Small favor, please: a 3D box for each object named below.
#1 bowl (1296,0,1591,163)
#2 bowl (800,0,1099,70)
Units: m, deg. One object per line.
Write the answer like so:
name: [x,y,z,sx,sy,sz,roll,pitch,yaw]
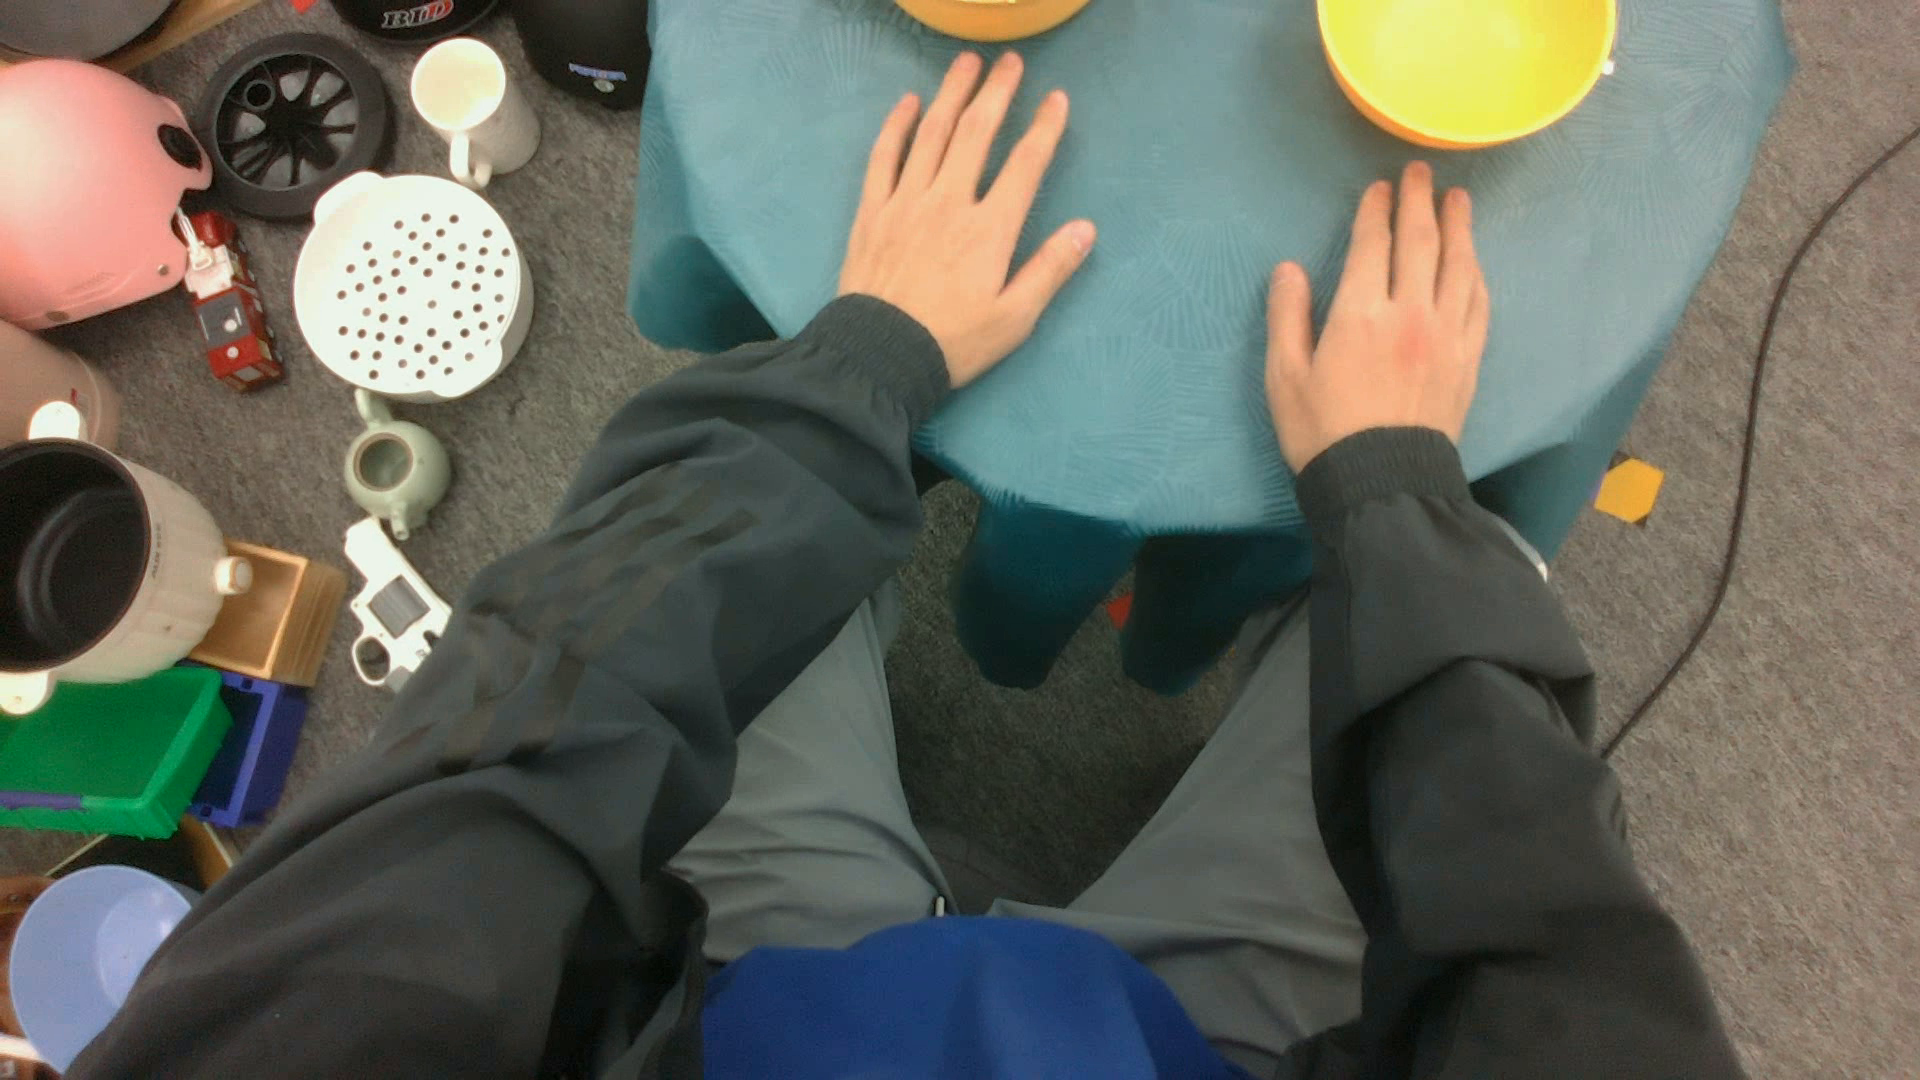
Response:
bowl: [0.245,-0.254,0.720,0.145,0.060,0.145,-1,78,4]
bowl: [-0.003,-0.325,0.736,0.179,0.074,0.153,-15,82,-2]
